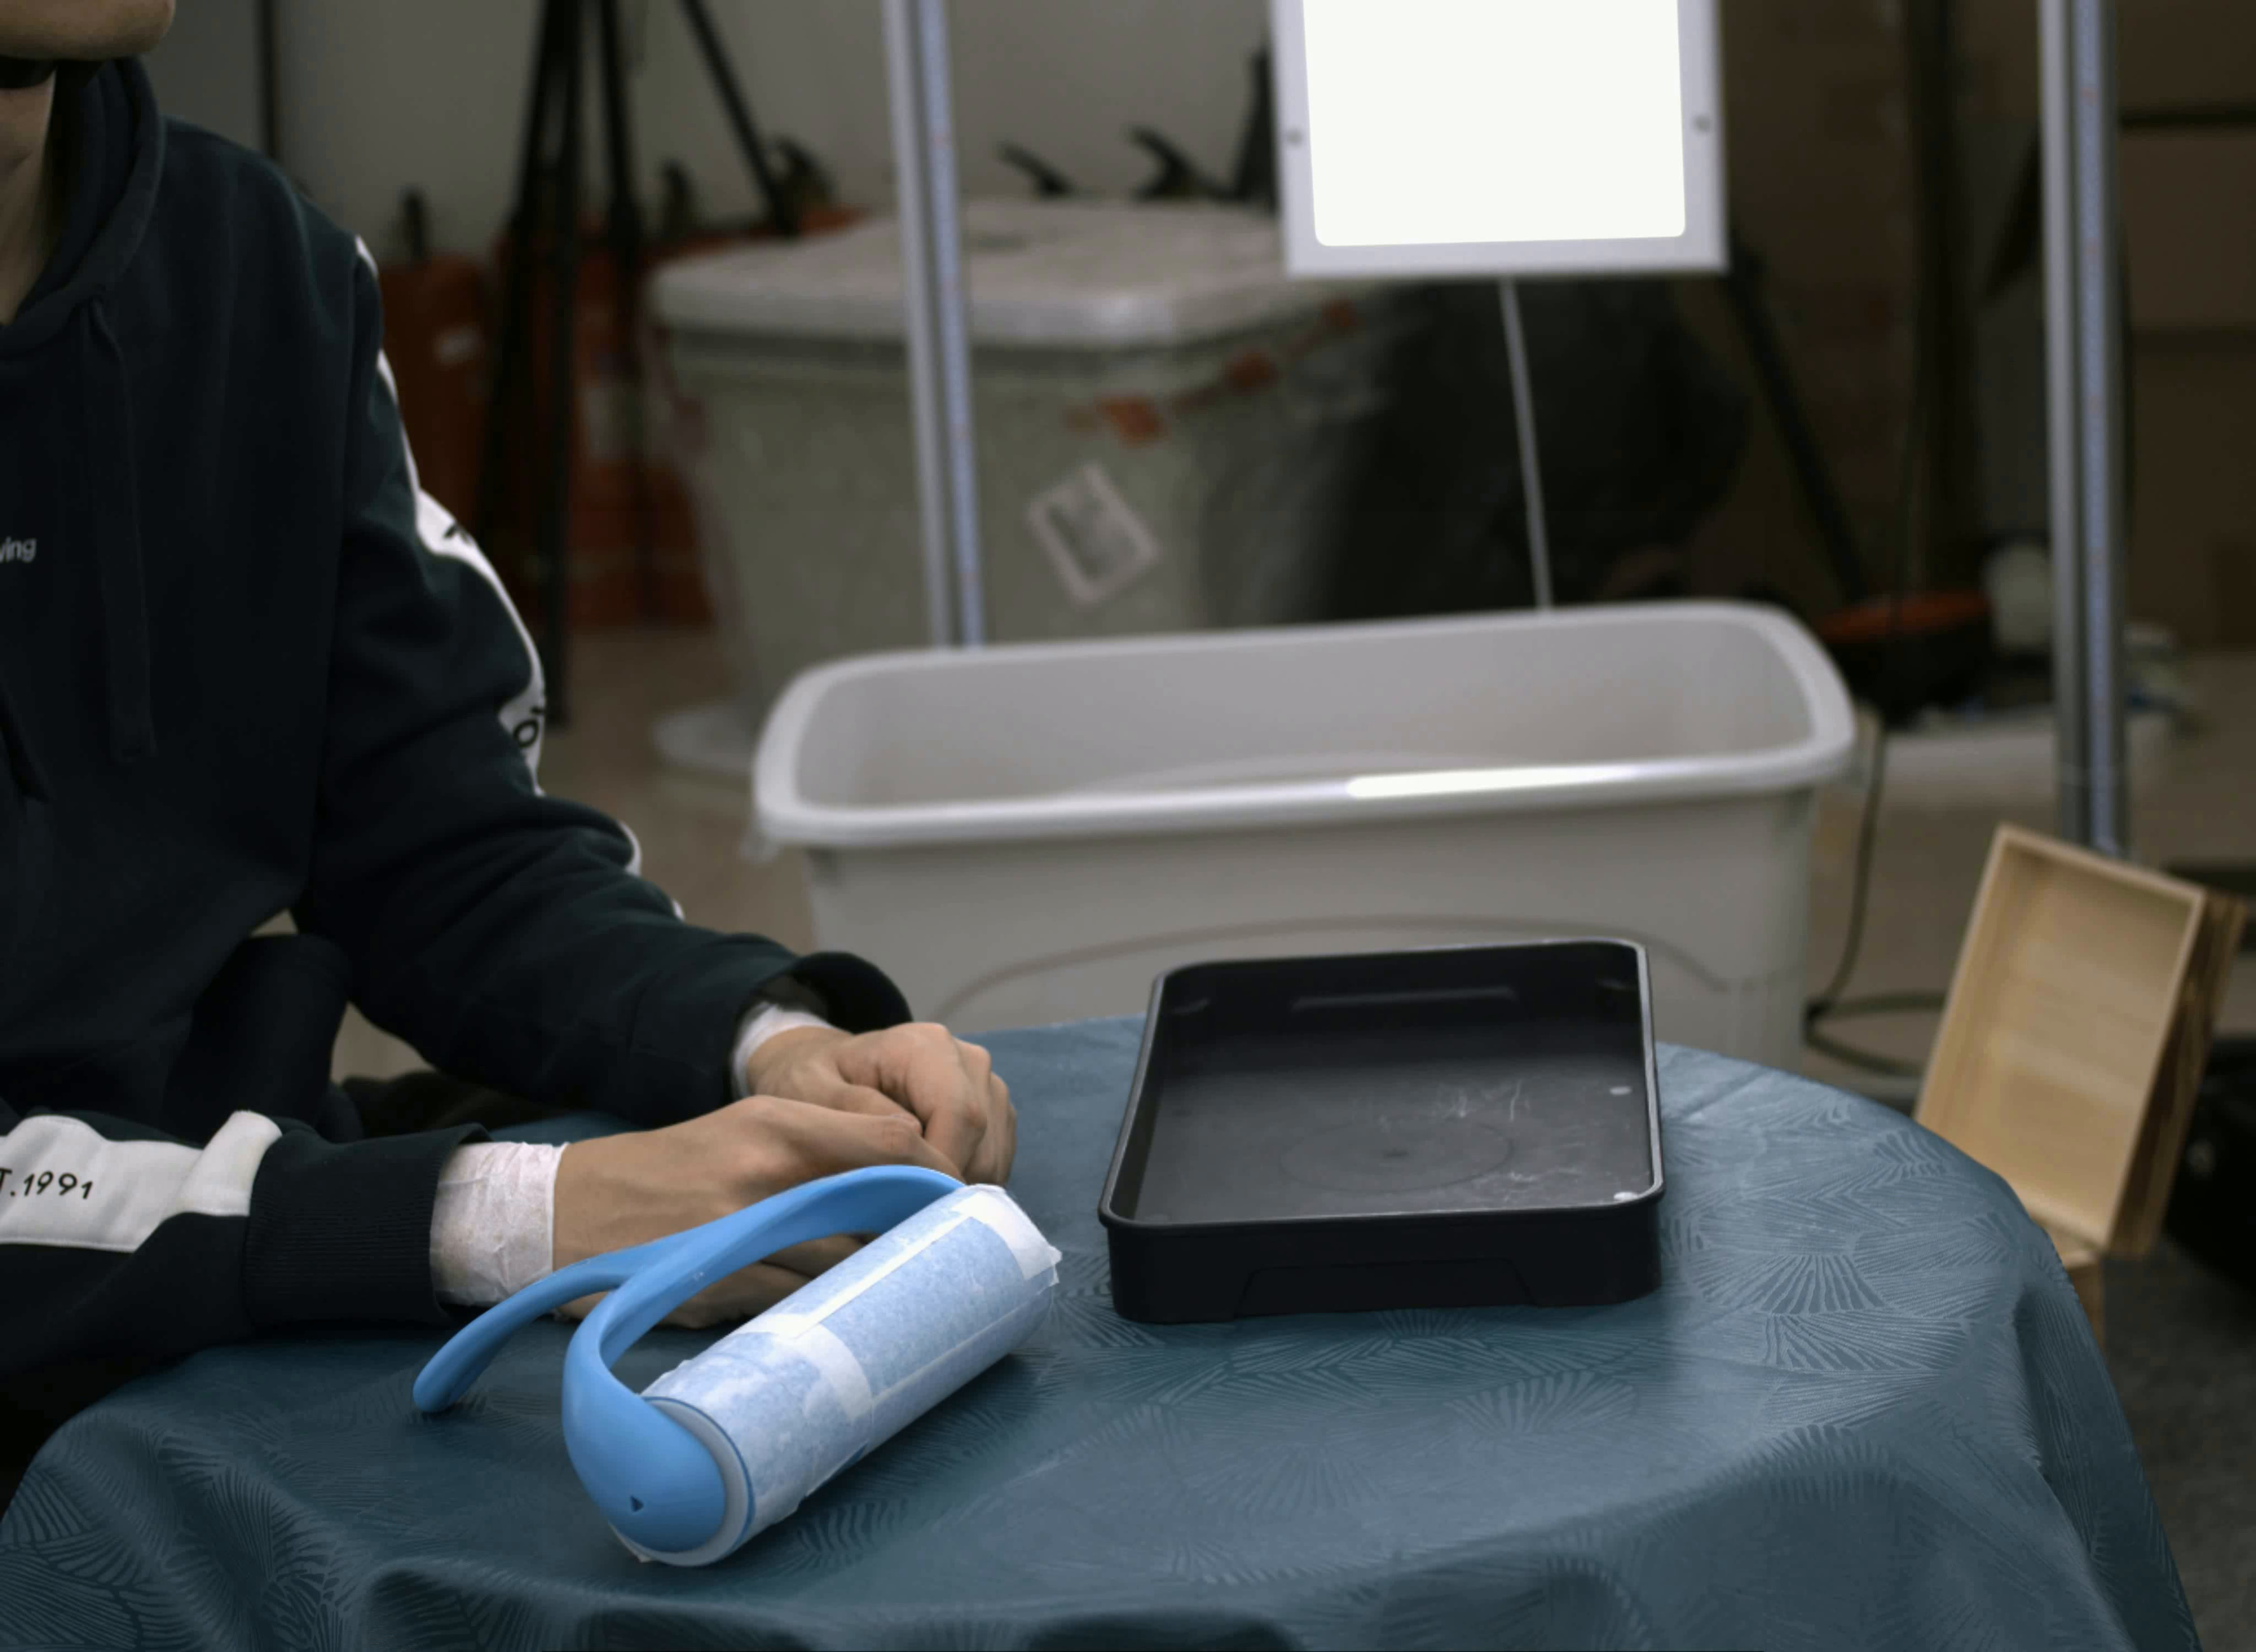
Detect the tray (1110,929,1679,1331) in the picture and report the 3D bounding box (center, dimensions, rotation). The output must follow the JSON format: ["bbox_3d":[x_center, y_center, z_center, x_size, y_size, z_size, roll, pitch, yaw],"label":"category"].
[{"bbox_3d":[0.093,0.100,1.896,0.184,0.037,0.316,-5,15,5],"label":"tray"}]

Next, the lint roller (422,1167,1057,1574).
[{"bbox_3d":[-0.141,0.161,1.688,0.183,0.068,0.224,3,18,25],"label":"lint roller"}]
